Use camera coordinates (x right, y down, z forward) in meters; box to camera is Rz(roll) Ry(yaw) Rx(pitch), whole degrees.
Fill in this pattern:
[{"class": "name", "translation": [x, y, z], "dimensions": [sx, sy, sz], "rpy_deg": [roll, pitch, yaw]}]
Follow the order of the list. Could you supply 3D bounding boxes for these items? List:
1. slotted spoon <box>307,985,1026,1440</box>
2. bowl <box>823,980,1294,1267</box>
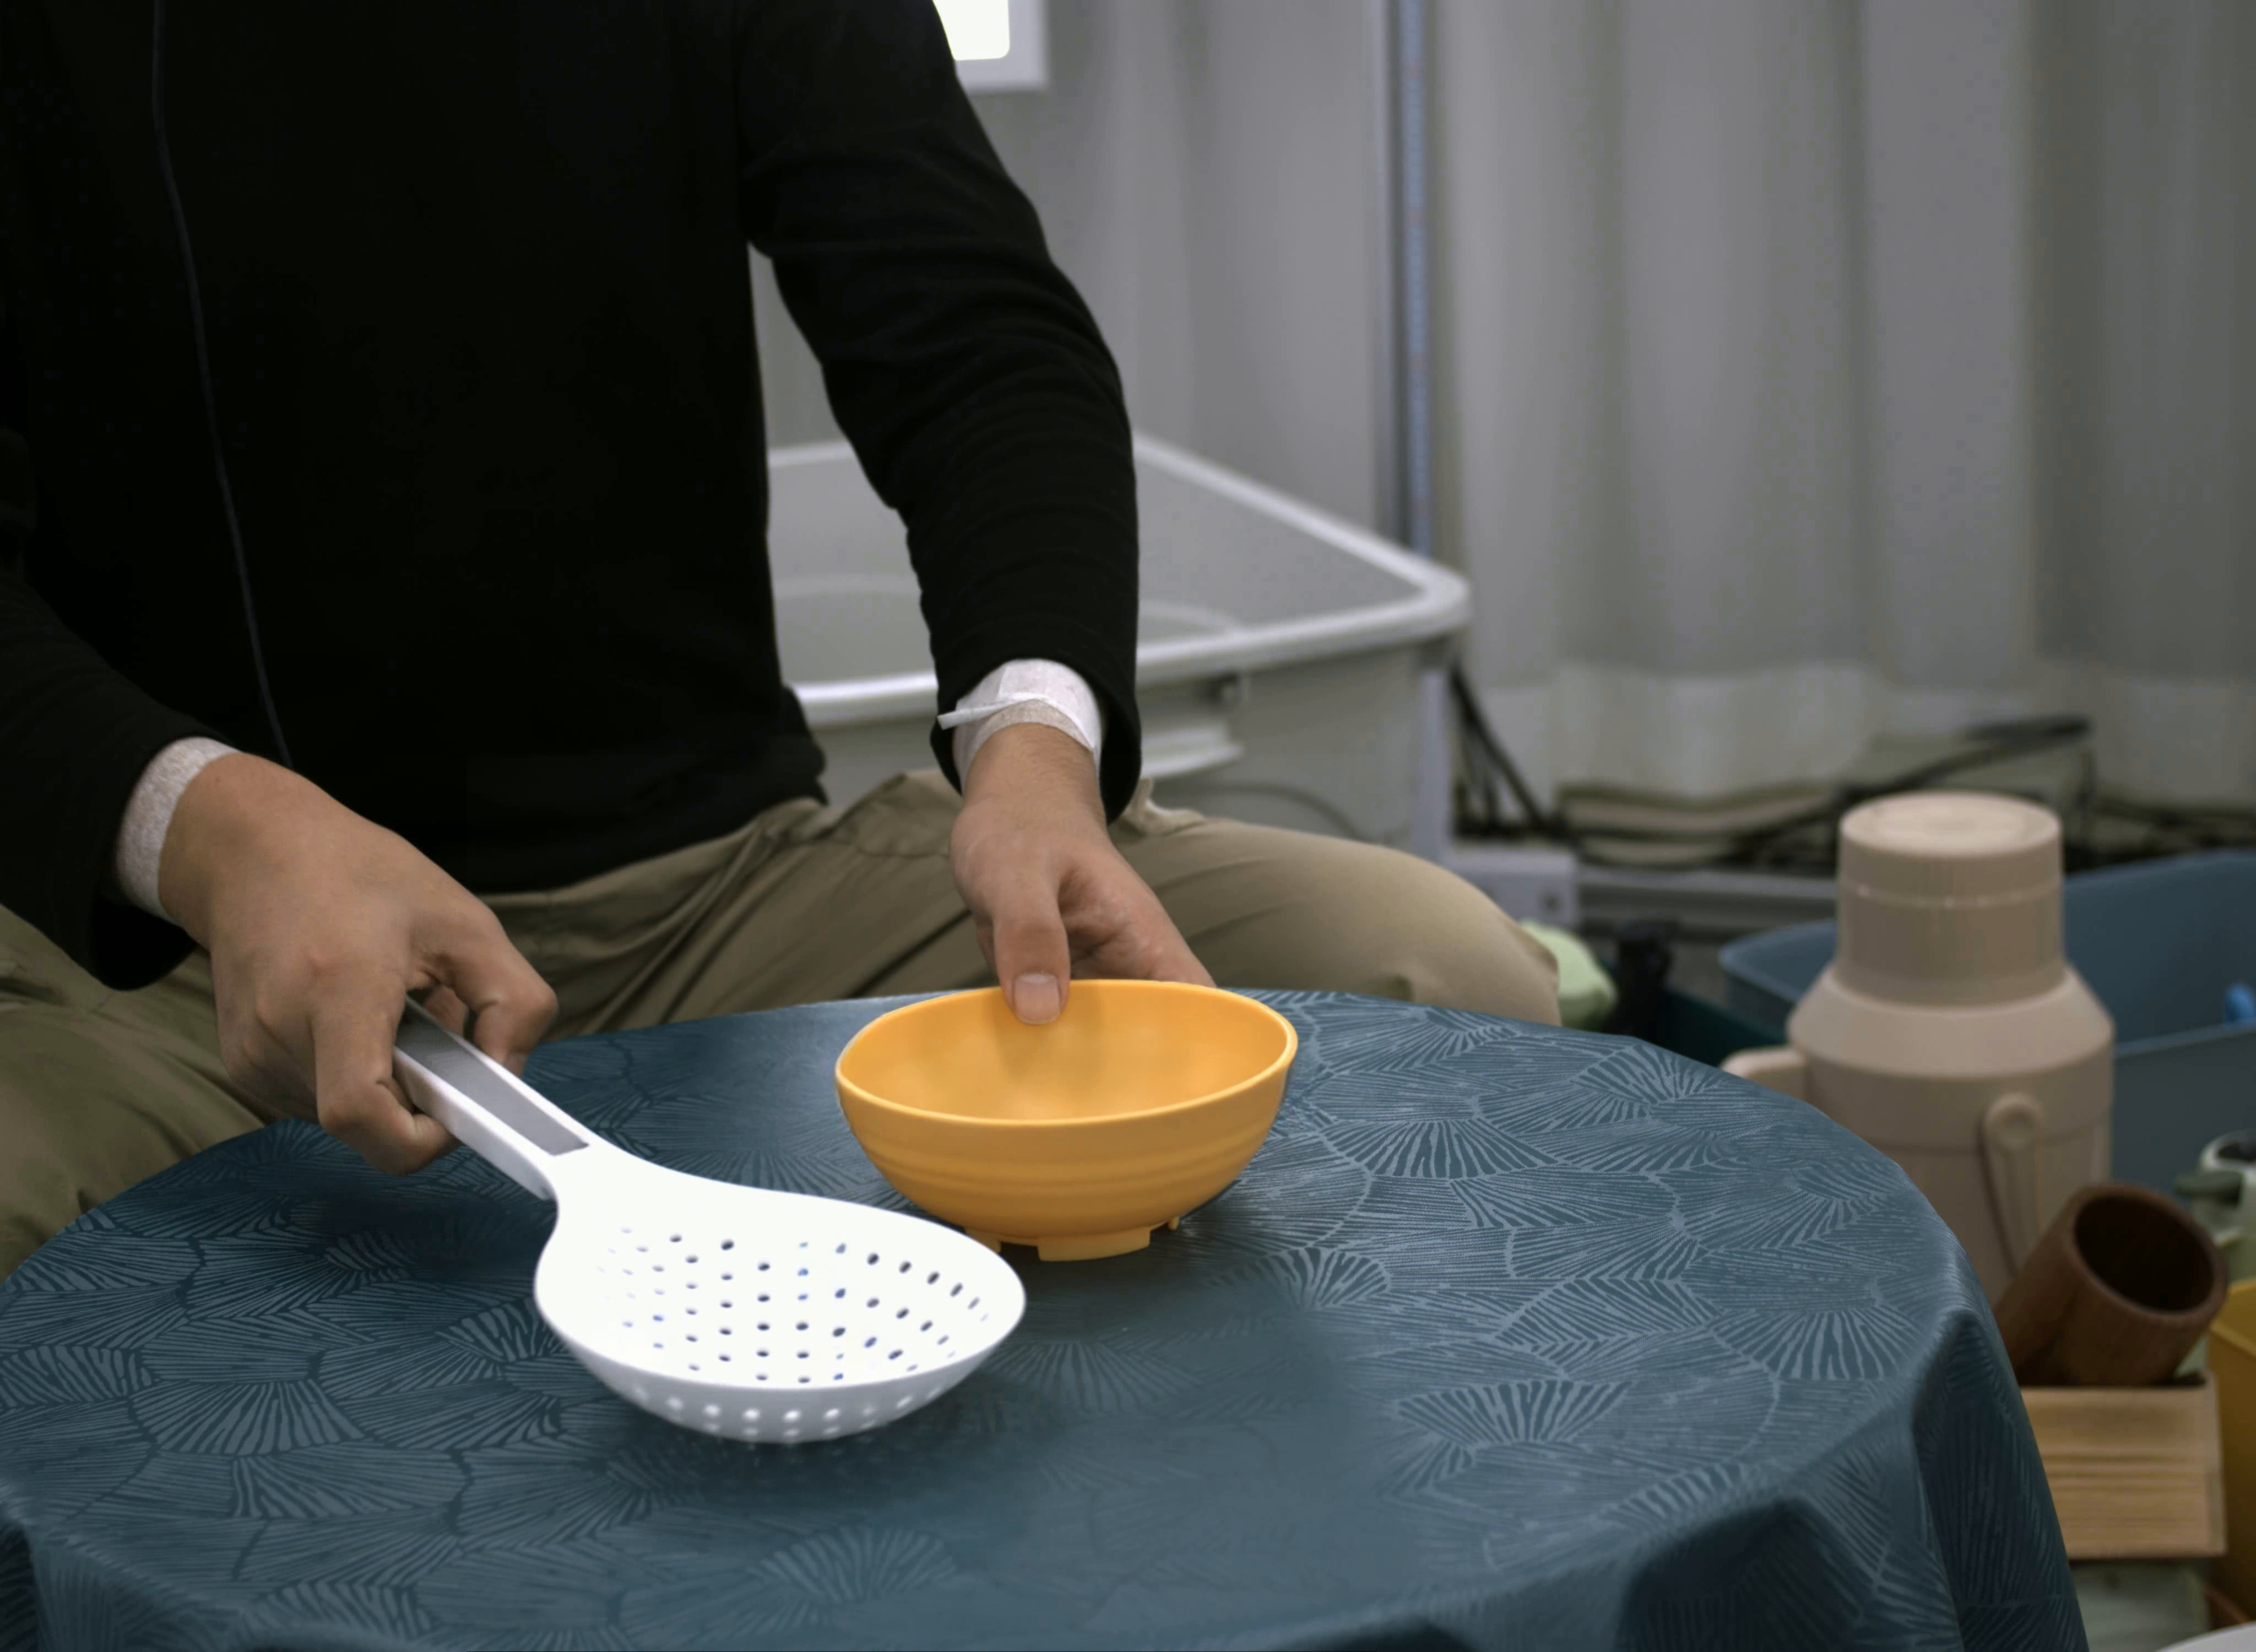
[{"class": "slotted spoon", "translation": [-0.156, 0.106, 1.611], "dimensions": [0.135, 0.045, 0.353], "rpy_deg": [-8, 24, -33]}, {"class": "bowl", "translation": [-0.021, 0.097, 1.679], "dimensions": [0.145, 0.060, 0.146], "rpy_deg": [-1, 15, 0]}]
